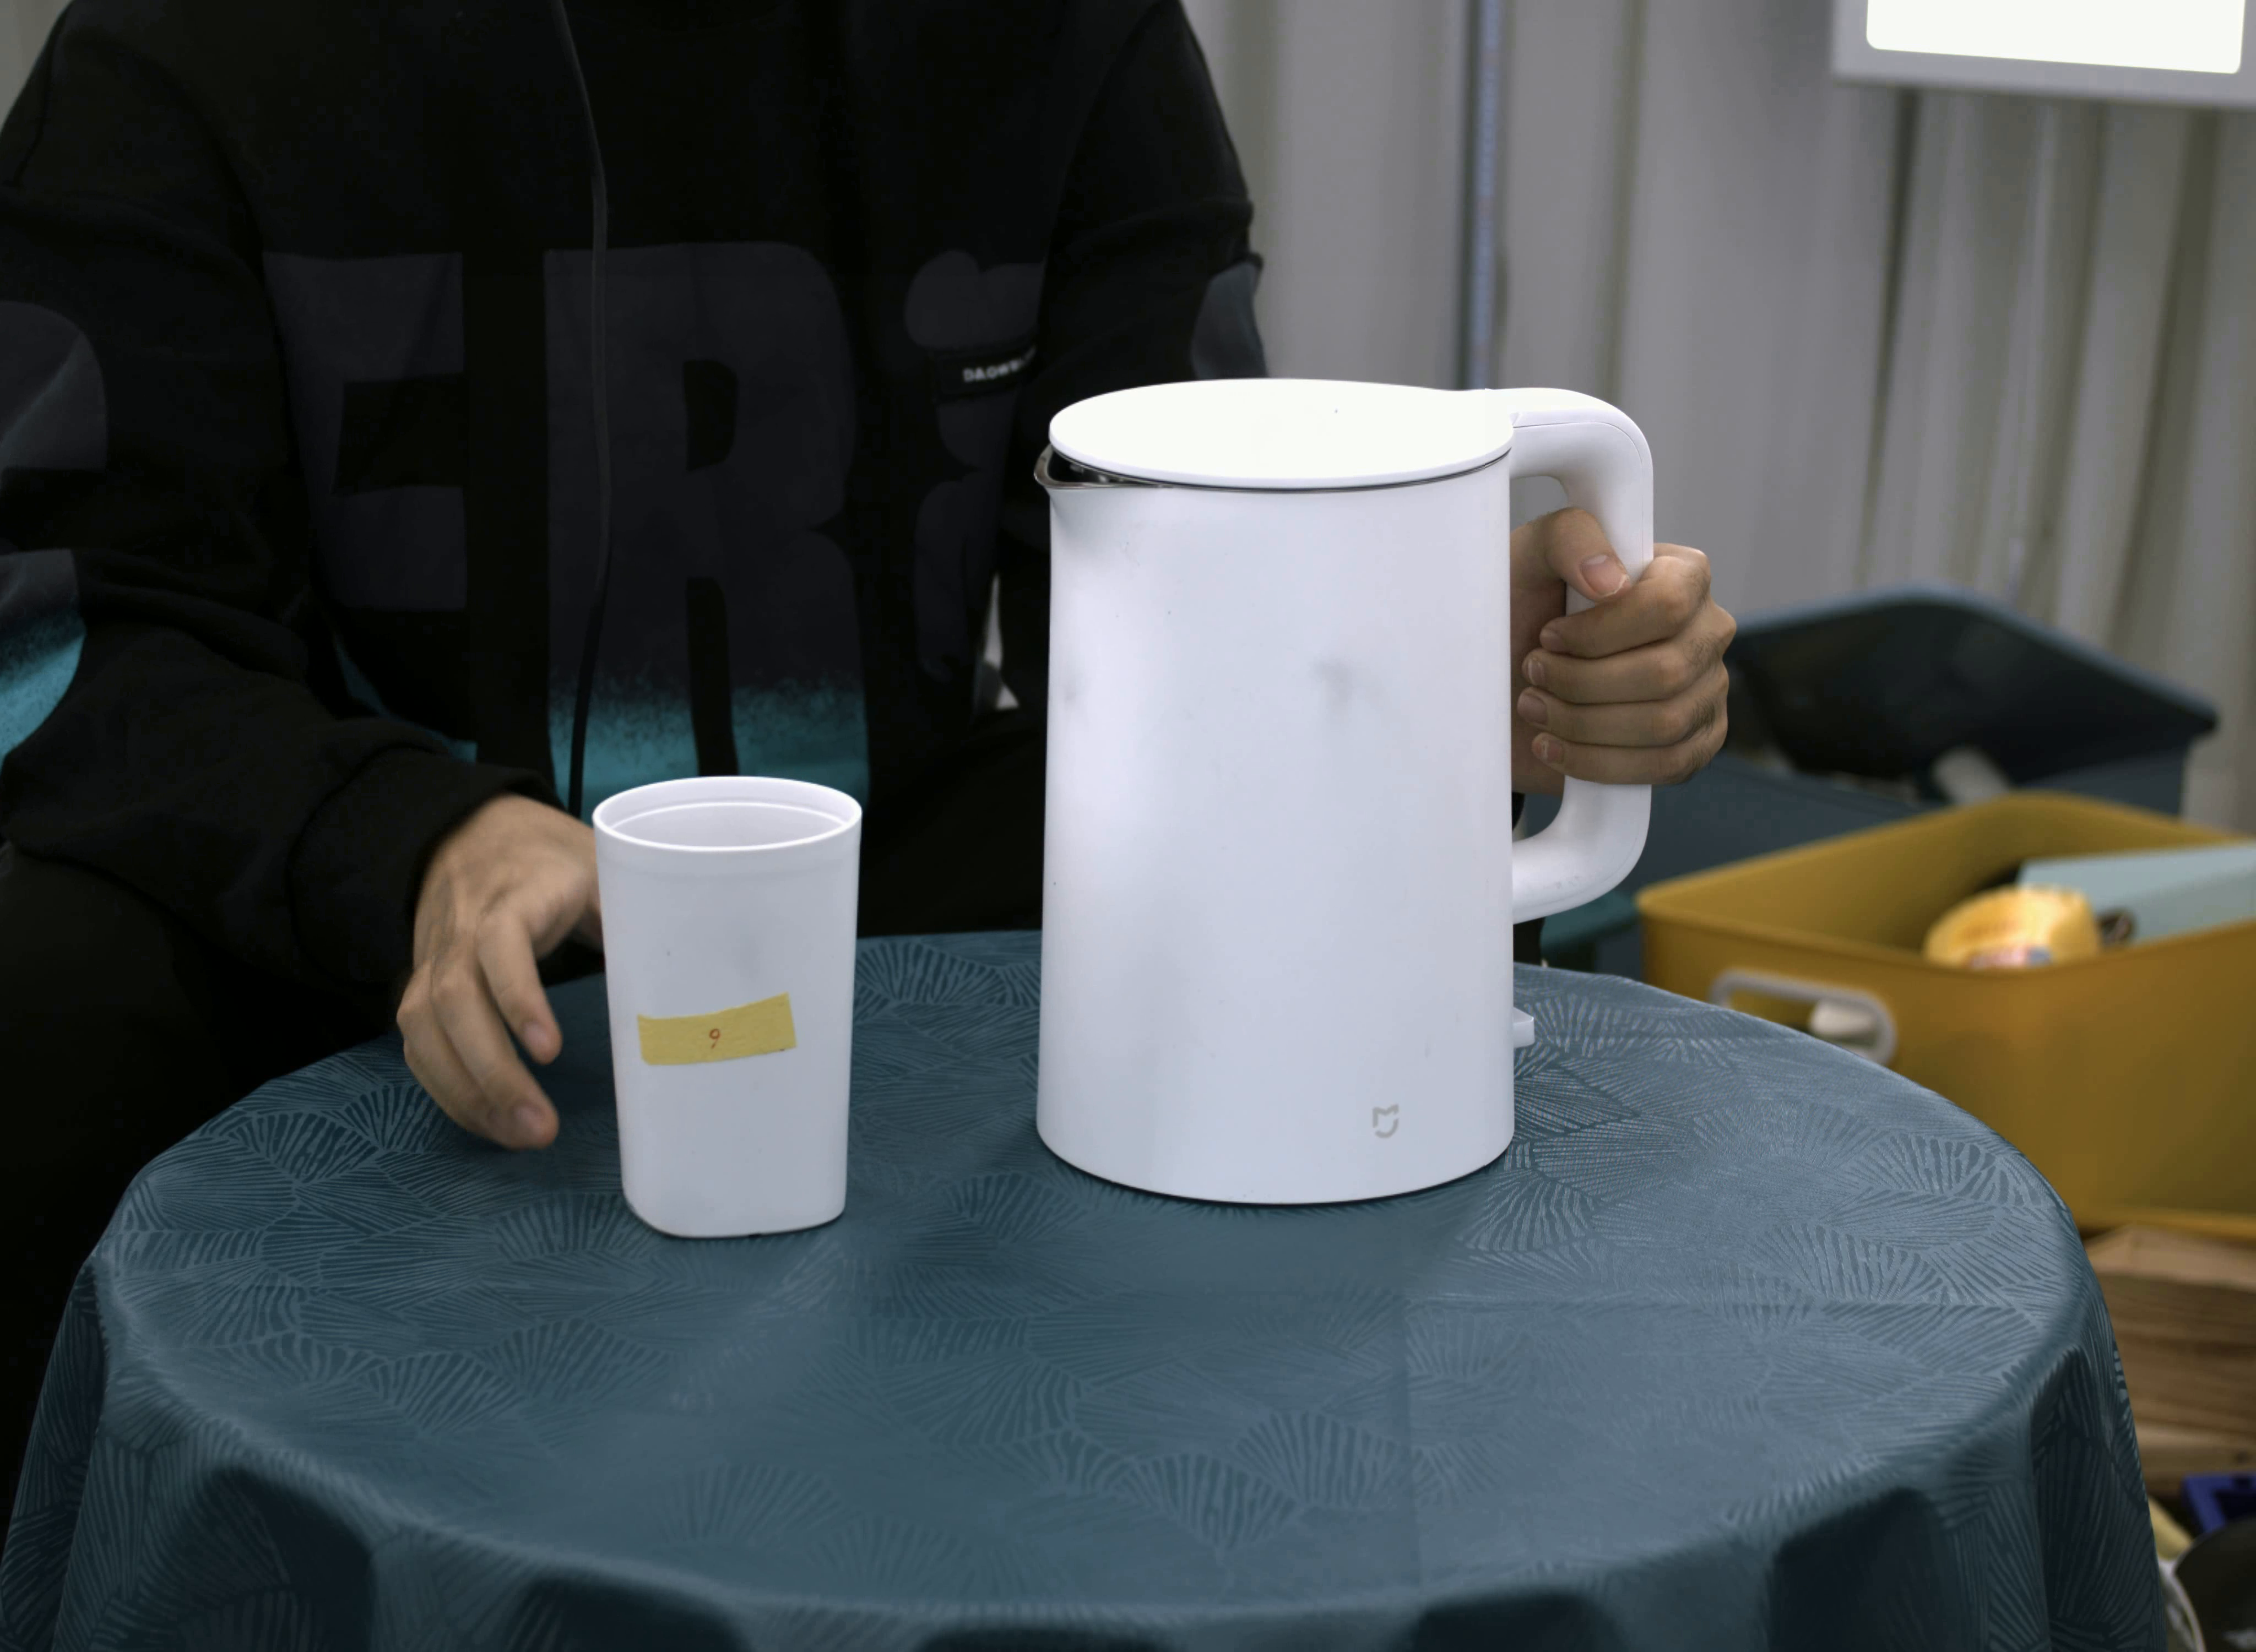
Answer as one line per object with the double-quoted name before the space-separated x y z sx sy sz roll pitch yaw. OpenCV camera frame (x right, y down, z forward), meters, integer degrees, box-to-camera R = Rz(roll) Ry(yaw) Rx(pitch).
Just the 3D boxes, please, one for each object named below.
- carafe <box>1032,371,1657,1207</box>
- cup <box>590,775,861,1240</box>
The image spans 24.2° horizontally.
"carafe" 0.070 -0.017 1.654 0.214 0.242 0.150 -9 20 -26
"cup" -0.120 0.055 1.588 0.081 0.126 0.081 1 16 0
